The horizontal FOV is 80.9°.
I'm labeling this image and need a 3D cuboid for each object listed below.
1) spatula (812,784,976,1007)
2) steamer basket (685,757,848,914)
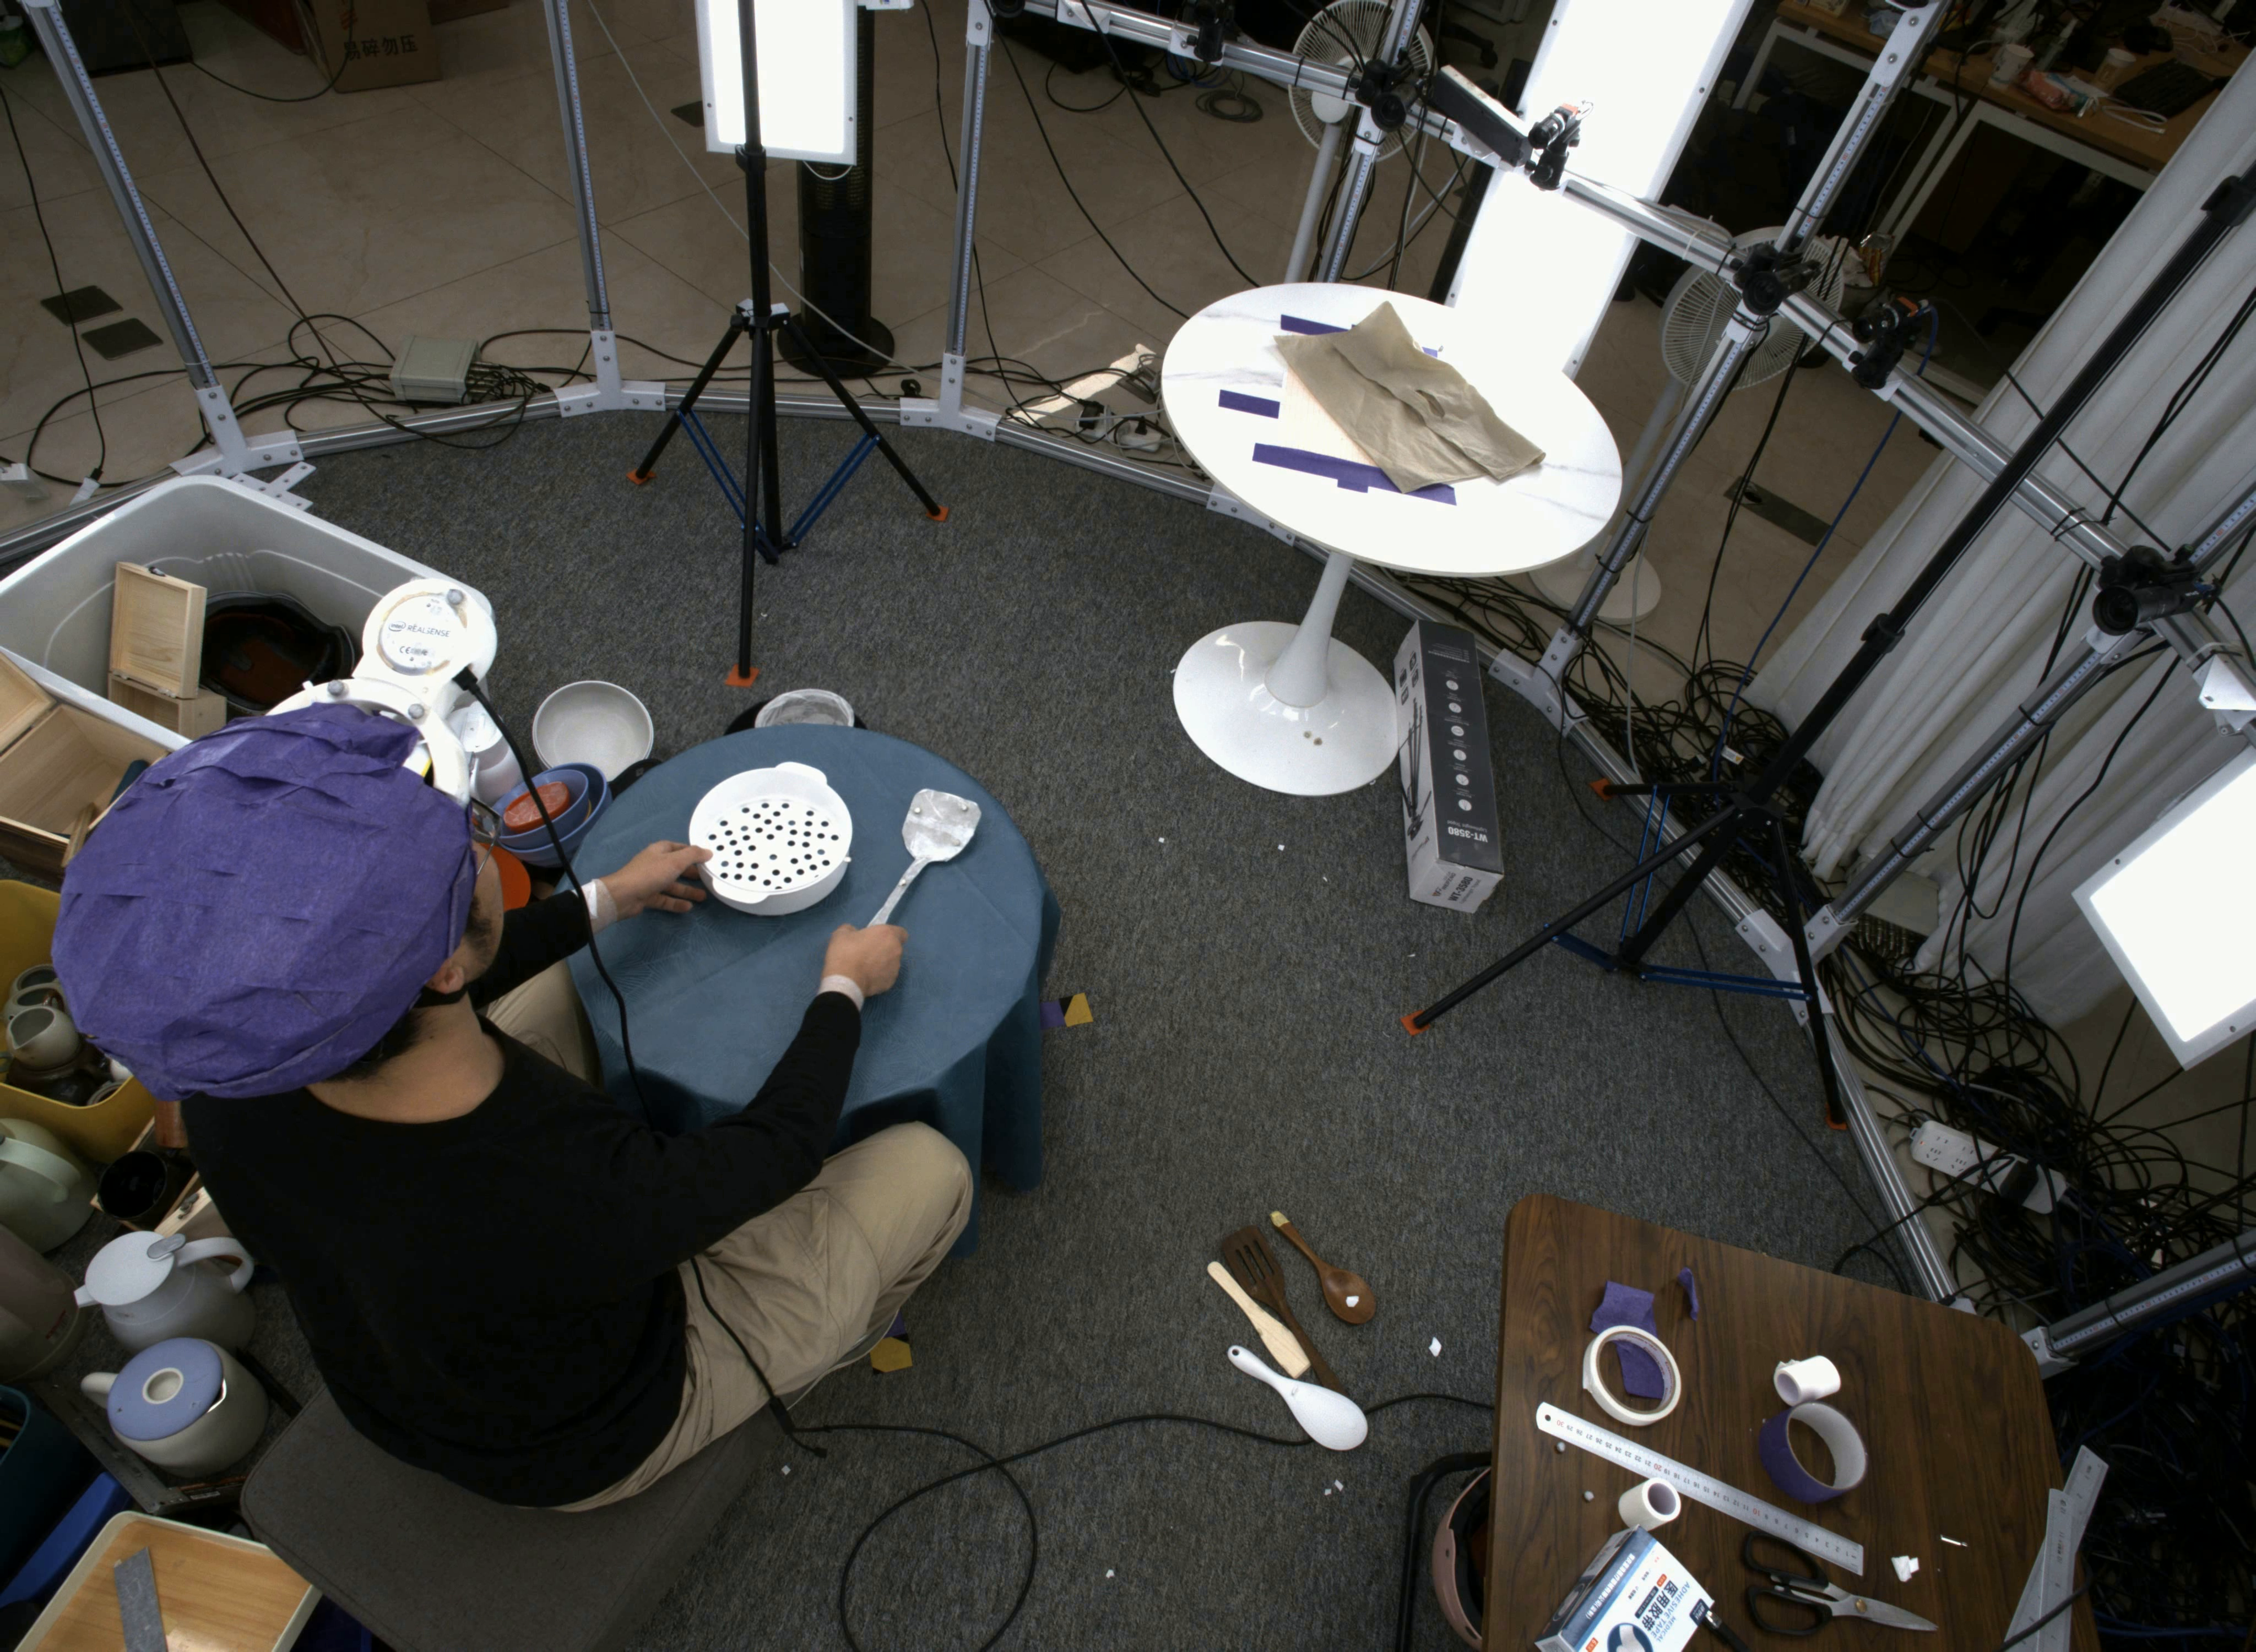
[{"bbox_3d":[-0.305,0.084,1.653,0.097,0.046,0.361,21,47,6],"label":"spatula"},{"bbox_3d":[-0.459,0.016,1.652,0.200,0.070,0.228,17,52,0],"label":"steamer basket"}]
